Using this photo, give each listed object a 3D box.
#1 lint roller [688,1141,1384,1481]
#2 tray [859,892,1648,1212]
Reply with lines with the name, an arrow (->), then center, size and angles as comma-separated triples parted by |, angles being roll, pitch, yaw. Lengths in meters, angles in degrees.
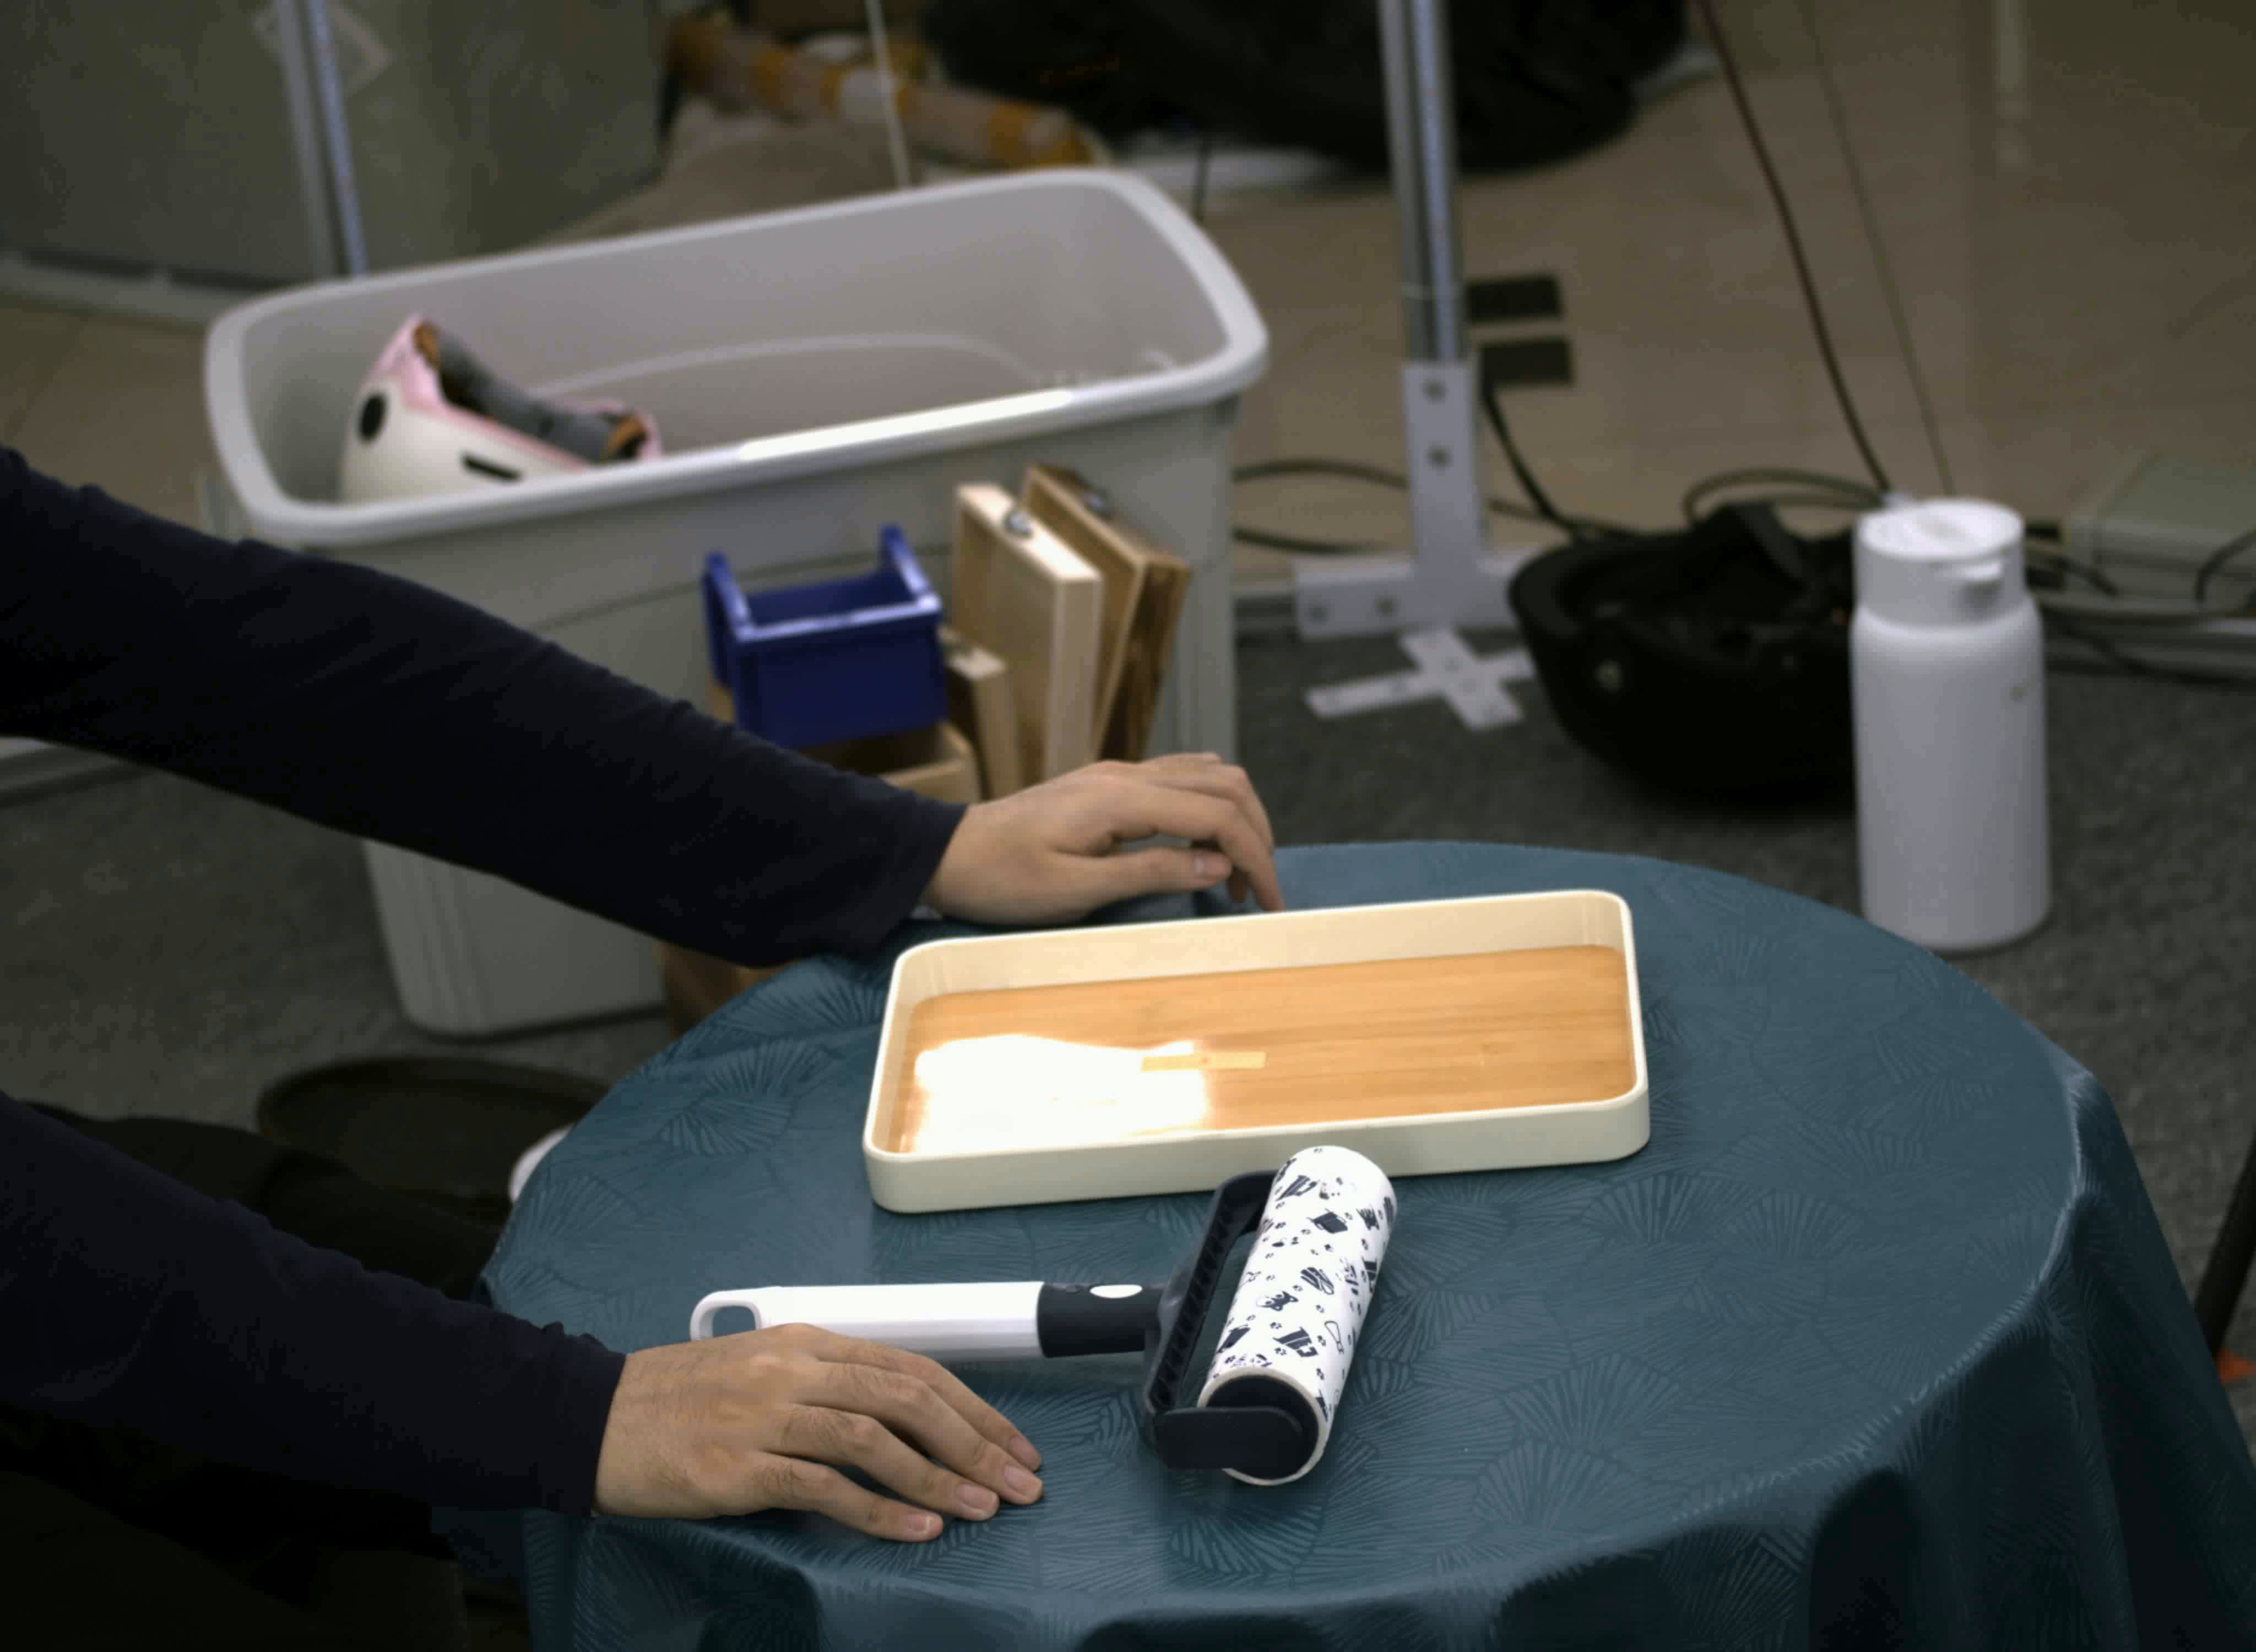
lint roller -> -0.040, 0.176, 2.031 | 0.246, 0.051, 0.174 | -3, 26, 12
tray -> 0.051, 0.087, 2.218 | 0.300, 0.028, 0.189 | -4, 25, 5
